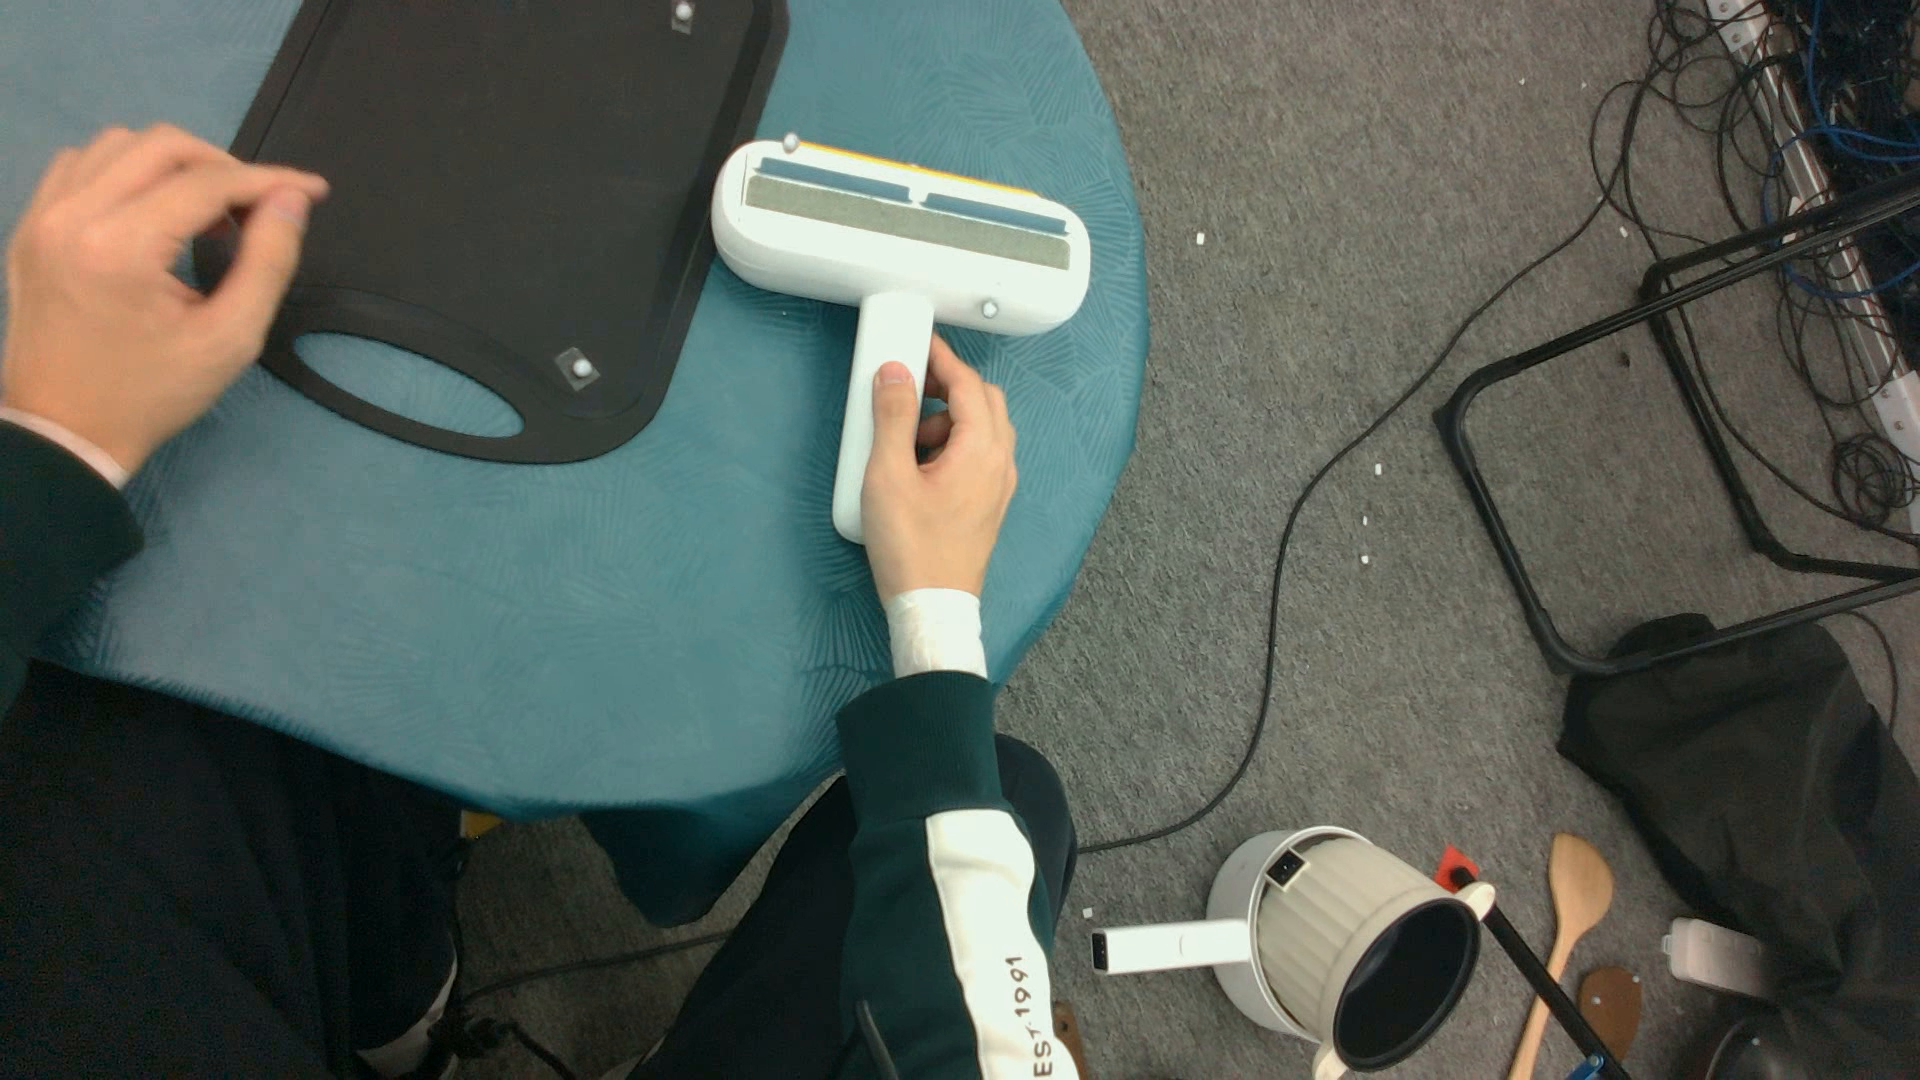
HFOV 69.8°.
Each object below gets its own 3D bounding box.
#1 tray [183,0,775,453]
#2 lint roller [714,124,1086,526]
[{"bbox_3d":[-0.217,-0.199,0.660,0.211,0.010,0.326,21,70,-21],"label":"tray"},{"bbox_3d":[-0.044,-0.101,0.710,0.193,0.074,0.192,14,87,-16],"label":"lint roller"}]
